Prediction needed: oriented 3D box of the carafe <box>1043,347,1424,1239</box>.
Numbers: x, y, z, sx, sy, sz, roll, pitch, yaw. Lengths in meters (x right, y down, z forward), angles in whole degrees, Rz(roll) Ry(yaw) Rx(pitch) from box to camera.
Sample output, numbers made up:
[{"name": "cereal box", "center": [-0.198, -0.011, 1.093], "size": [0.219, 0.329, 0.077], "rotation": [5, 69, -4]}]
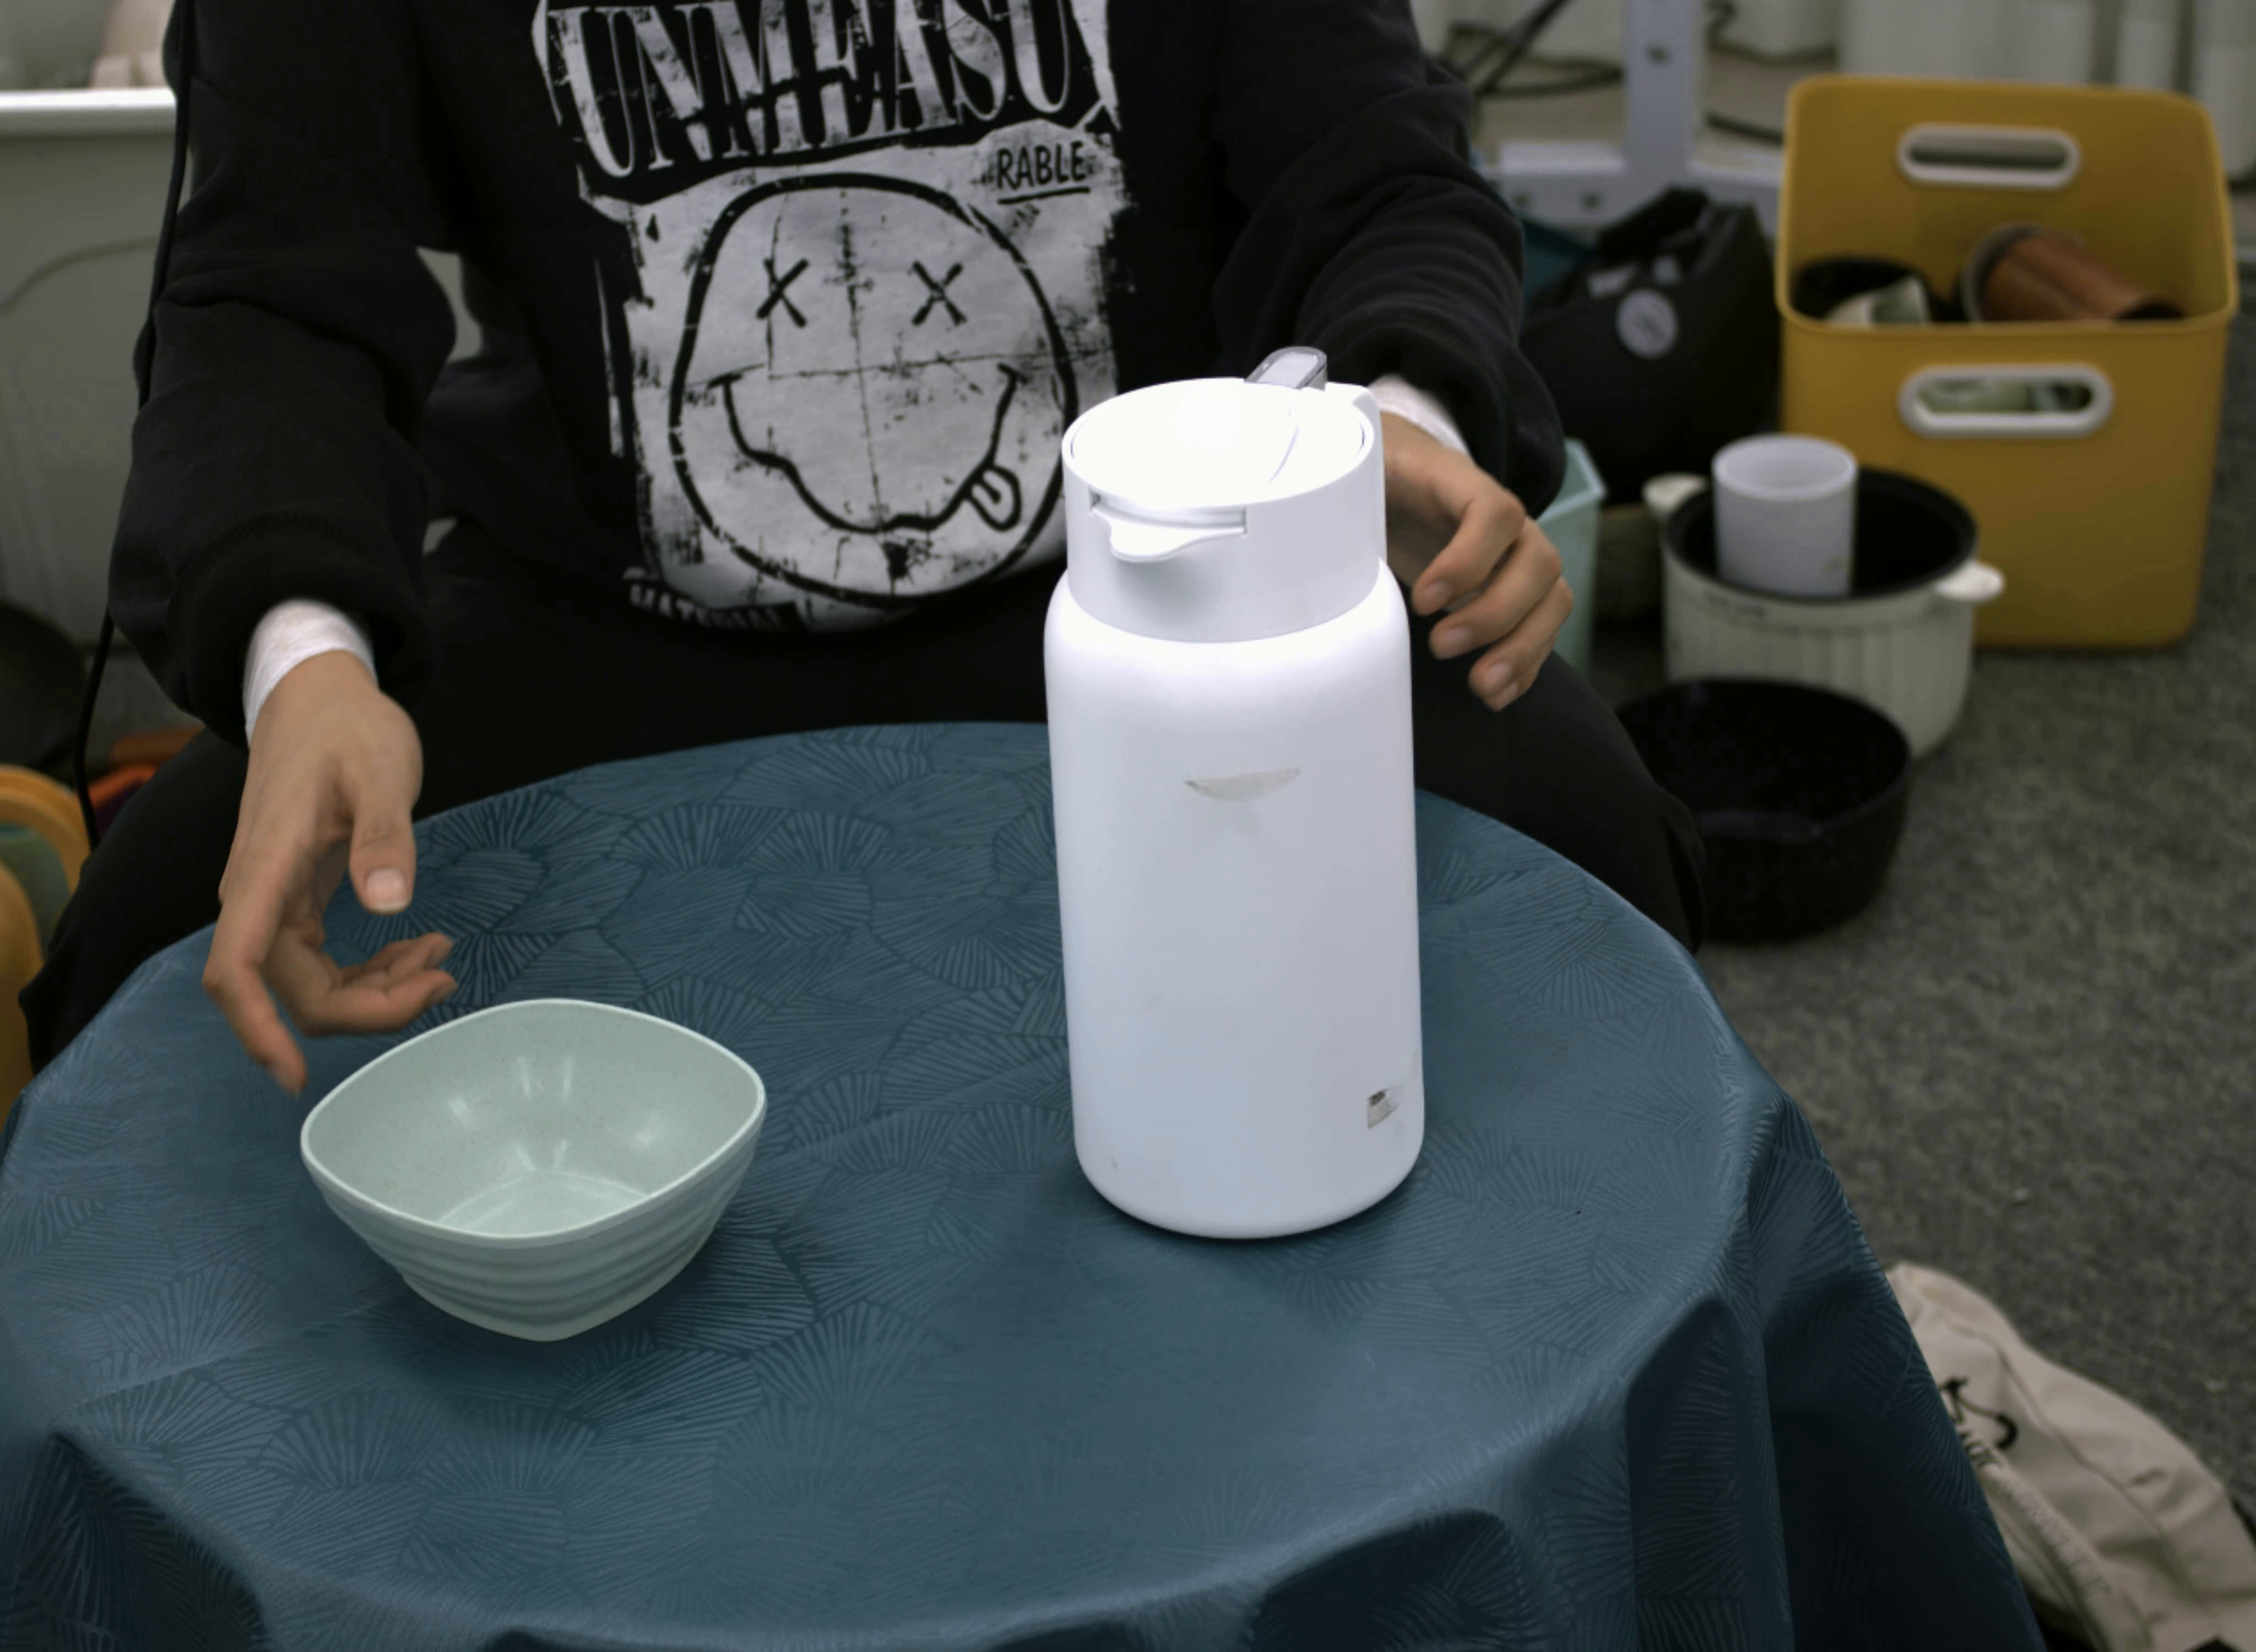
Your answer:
[{"name": "carafe", "center": [0.040, -0.014, 1.832], "size": [0.123, 0.266, 0.176], "rotation": [6, 28, 22]}]

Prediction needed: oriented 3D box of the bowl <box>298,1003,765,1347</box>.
[{"name": "bowl", "center": [-0.191, 0.120, 1.825], "size": [0.151, 0.058, 0.154], "rotation": [-2, 27, 1]}]
